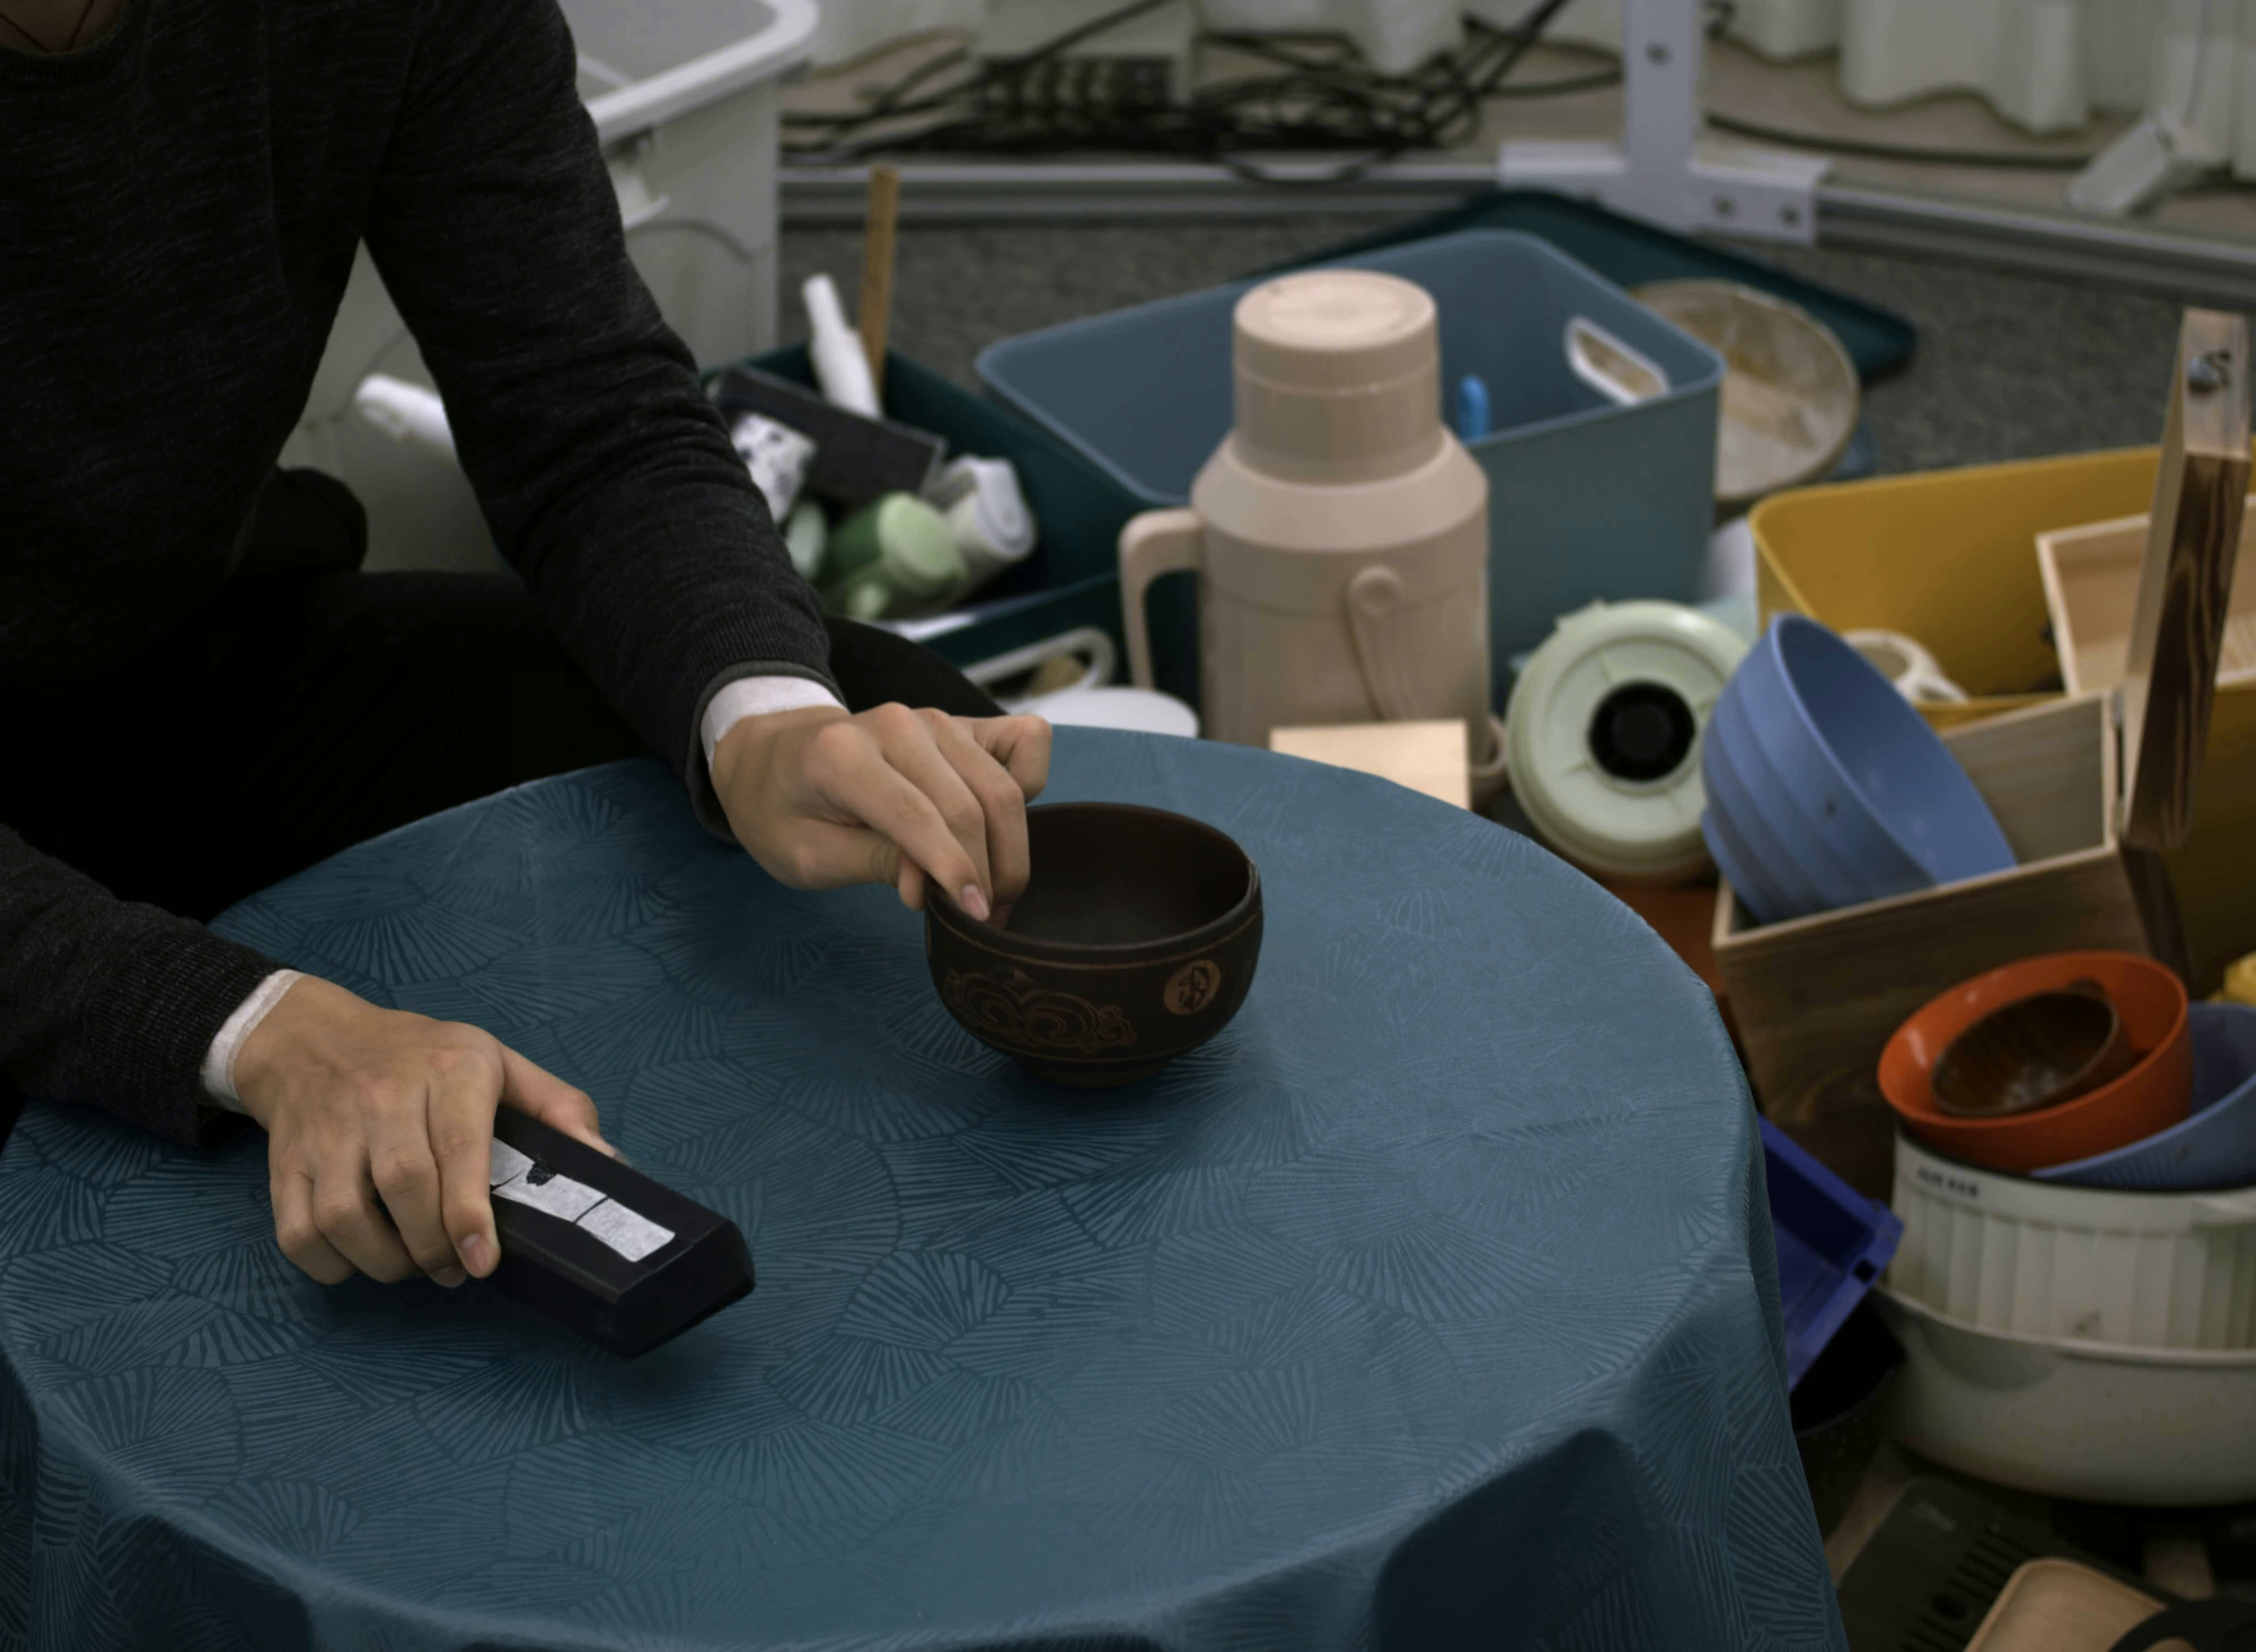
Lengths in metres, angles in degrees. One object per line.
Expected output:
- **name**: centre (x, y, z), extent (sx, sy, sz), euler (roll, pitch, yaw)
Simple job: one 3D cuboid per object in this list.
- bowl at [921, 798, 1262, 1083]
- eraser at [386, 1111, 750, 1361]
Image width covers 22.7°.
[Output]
- **bowl**: centre (-0.013, 0.045, 1.927), extent (0.117, 0.069, 0.119), euler (2, 23, 0)
- **eraser**: centre (-0.178, 0.130, 1.790), extent (0.054, 0.030, 0.125), euler (-32, 35, -33)
